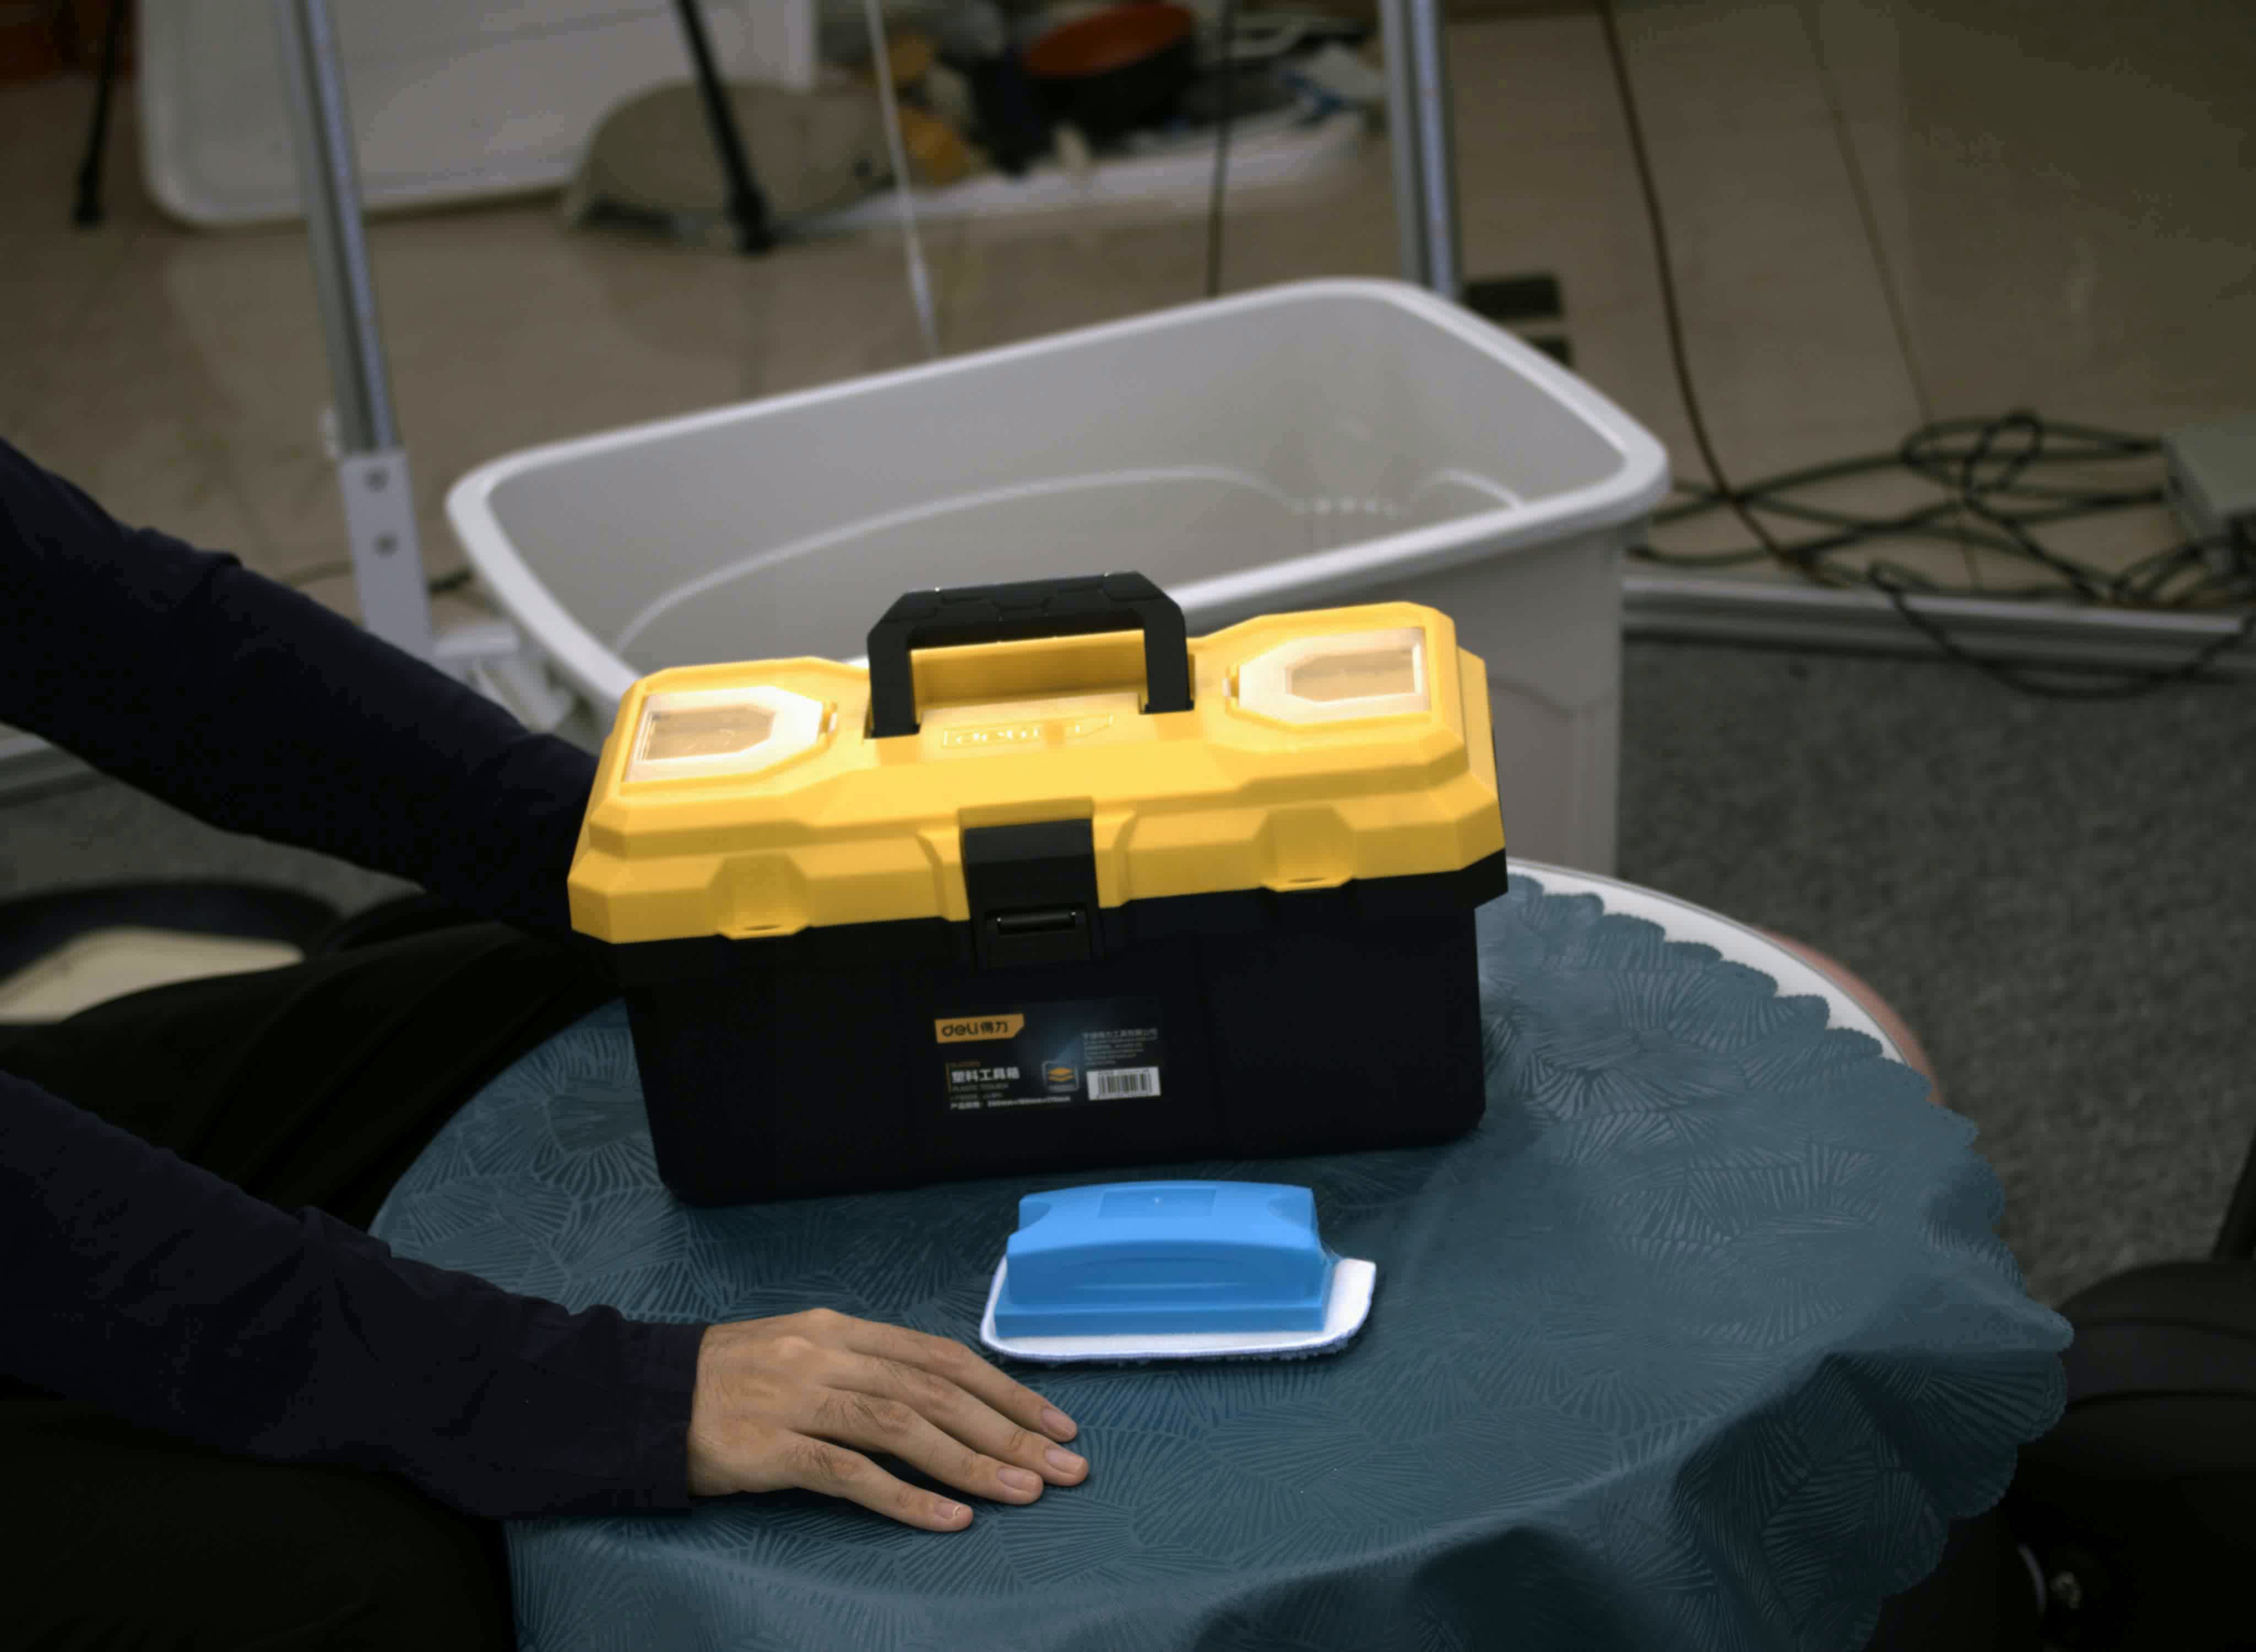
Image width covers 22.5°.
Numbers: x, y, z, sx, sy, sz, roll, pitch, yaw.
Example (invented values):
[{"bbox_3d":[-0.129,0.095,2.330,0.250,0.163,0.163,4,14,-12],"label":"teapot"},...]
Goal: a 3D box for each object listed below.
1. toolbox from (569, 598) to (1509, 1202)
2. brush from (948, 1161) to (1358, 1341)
[{"bbox_3d":[-0.029,0.030,2.179,0.351,0.175,0.178,-5,25,4],"label":"toolbox"},{"bbox_3d":[0.009,0.152,2.045,0.143,0.057,0.083,1,23,11],"label":"brush"}]
